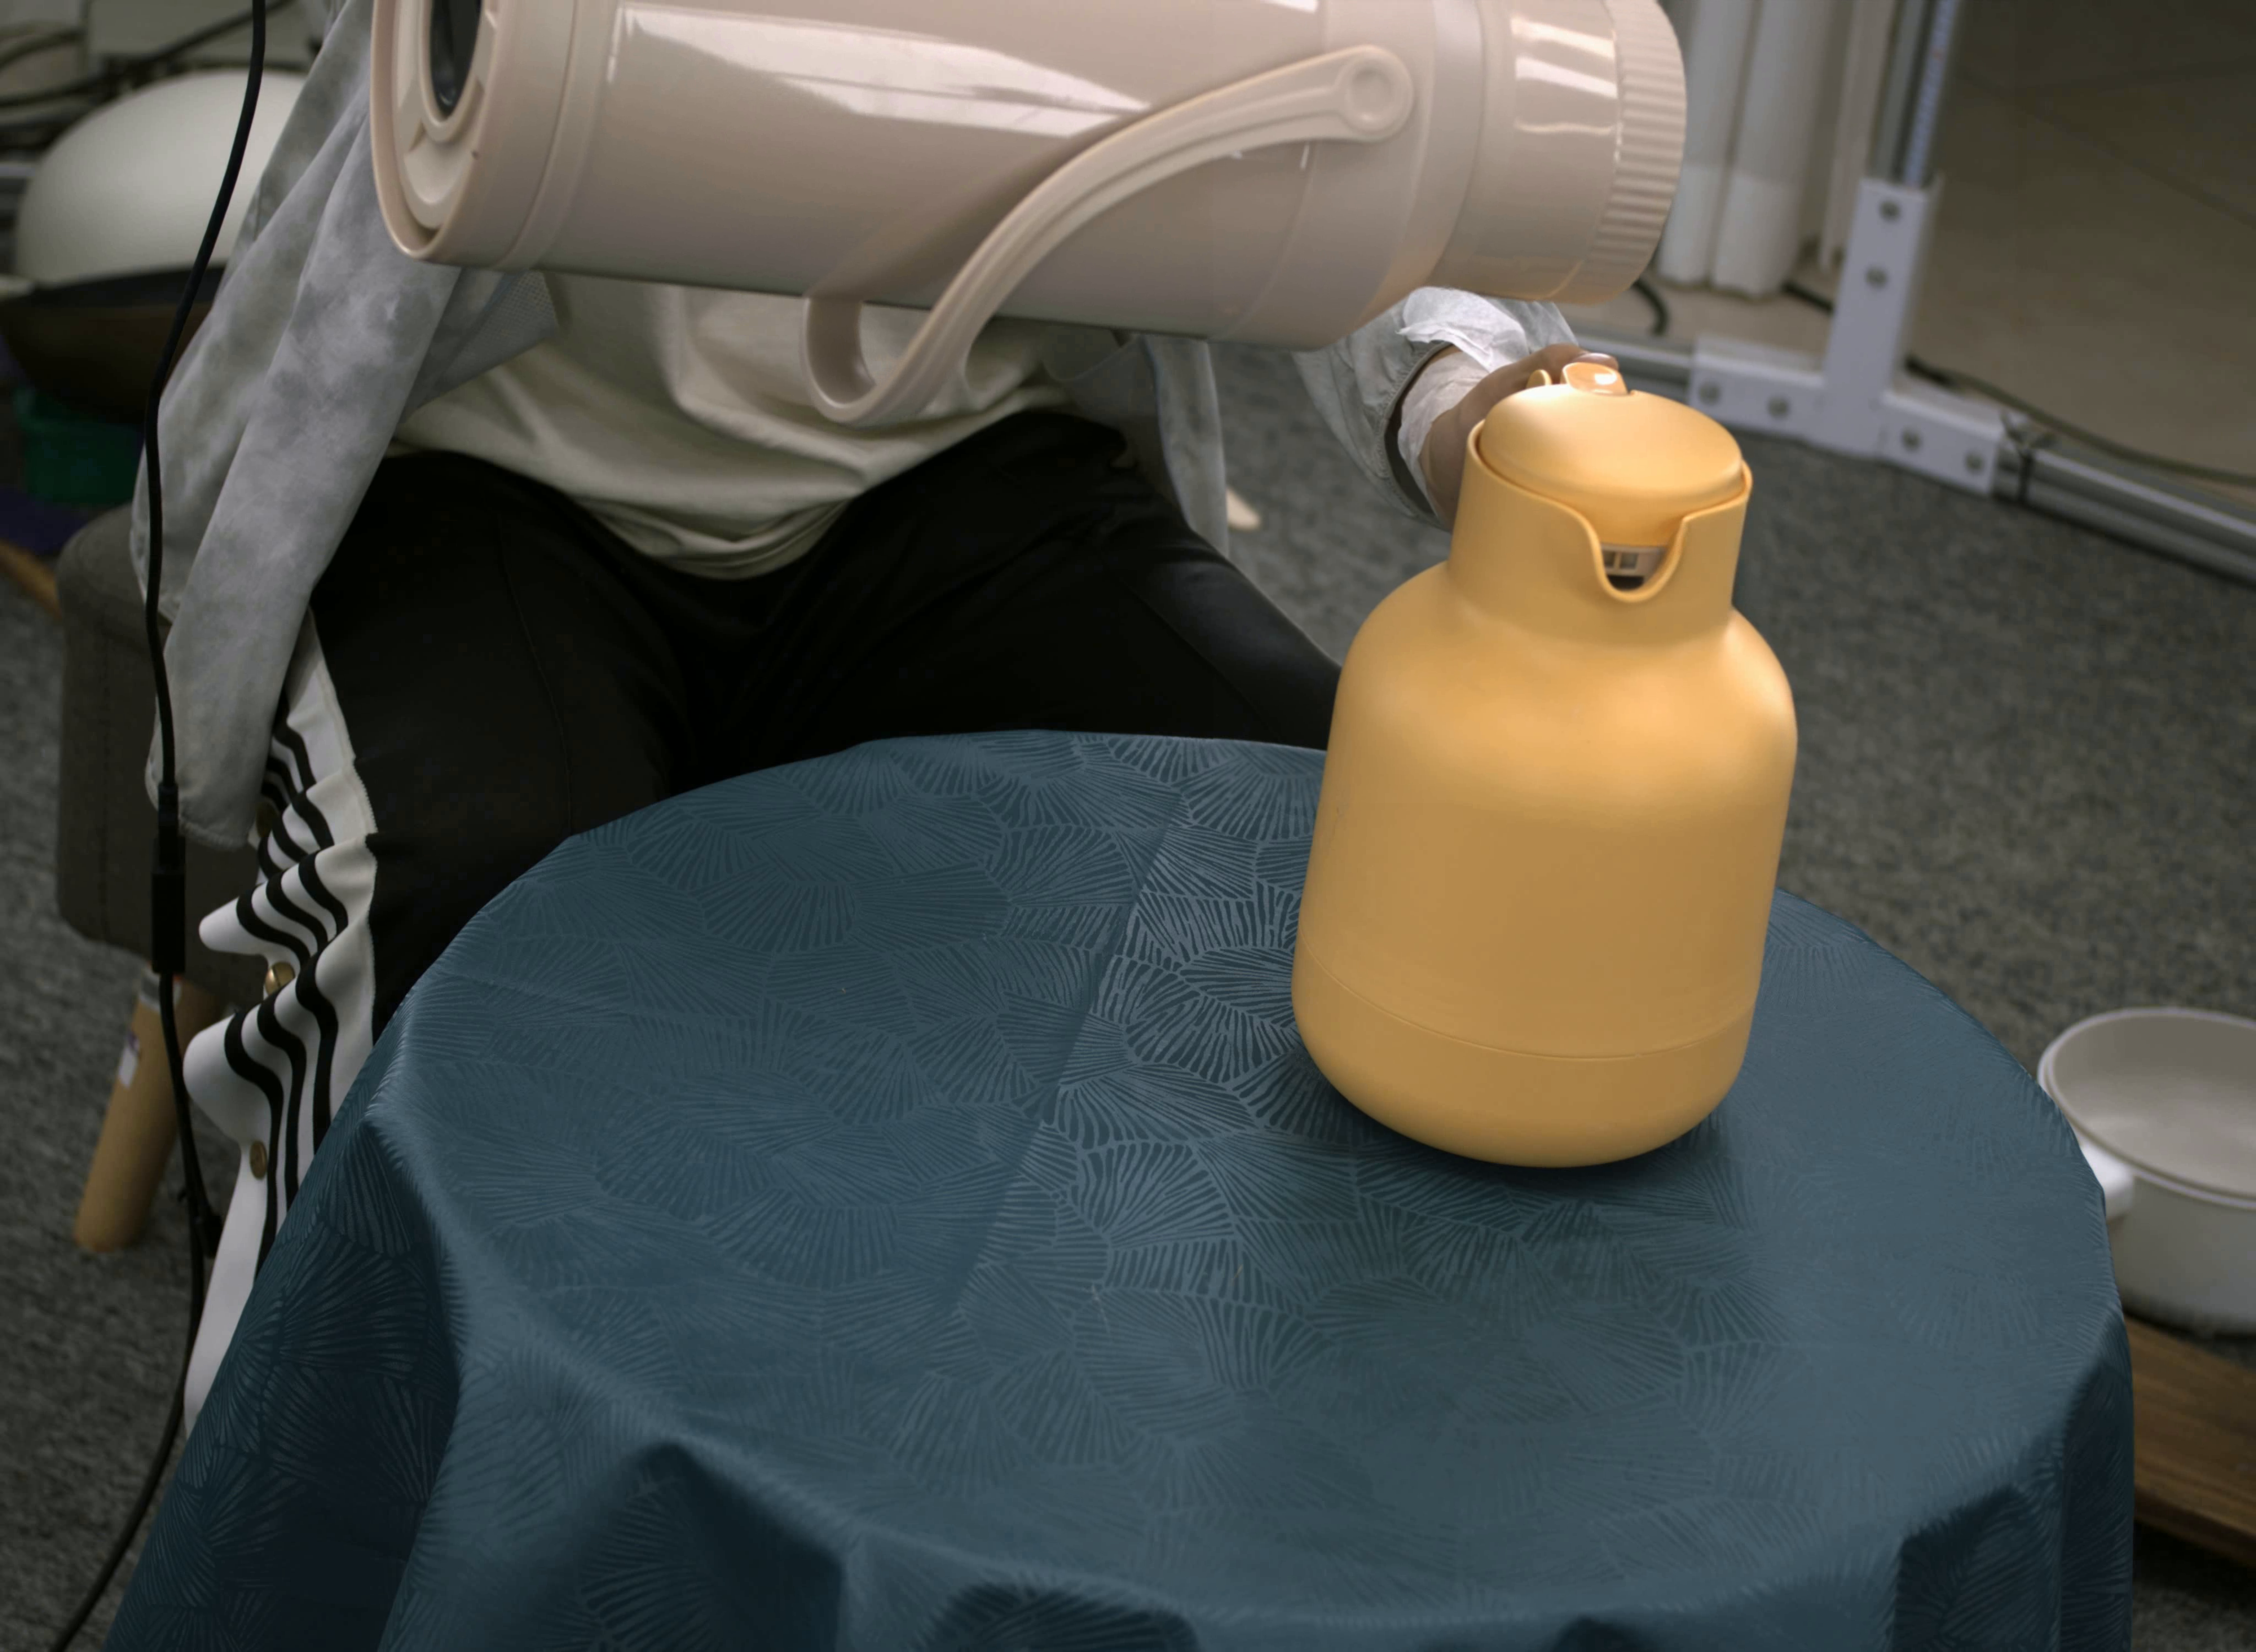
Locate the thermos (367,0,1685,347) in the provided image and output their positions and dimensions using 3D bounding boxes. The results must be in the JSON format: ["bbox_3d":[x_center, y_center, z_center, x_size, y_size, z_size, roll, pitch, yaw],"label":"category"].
[{"bbox_3d":[-0.027,-0.252,1.679,0.403,0.207,0.176,4,3,-19],"label":"thermos"}]

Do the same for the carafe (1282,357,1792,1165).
[{"bbox_3d":[0.148,-0.032,1.856,0.163,0.259,0.203,7,27,-4],"label":"carafe"}]
